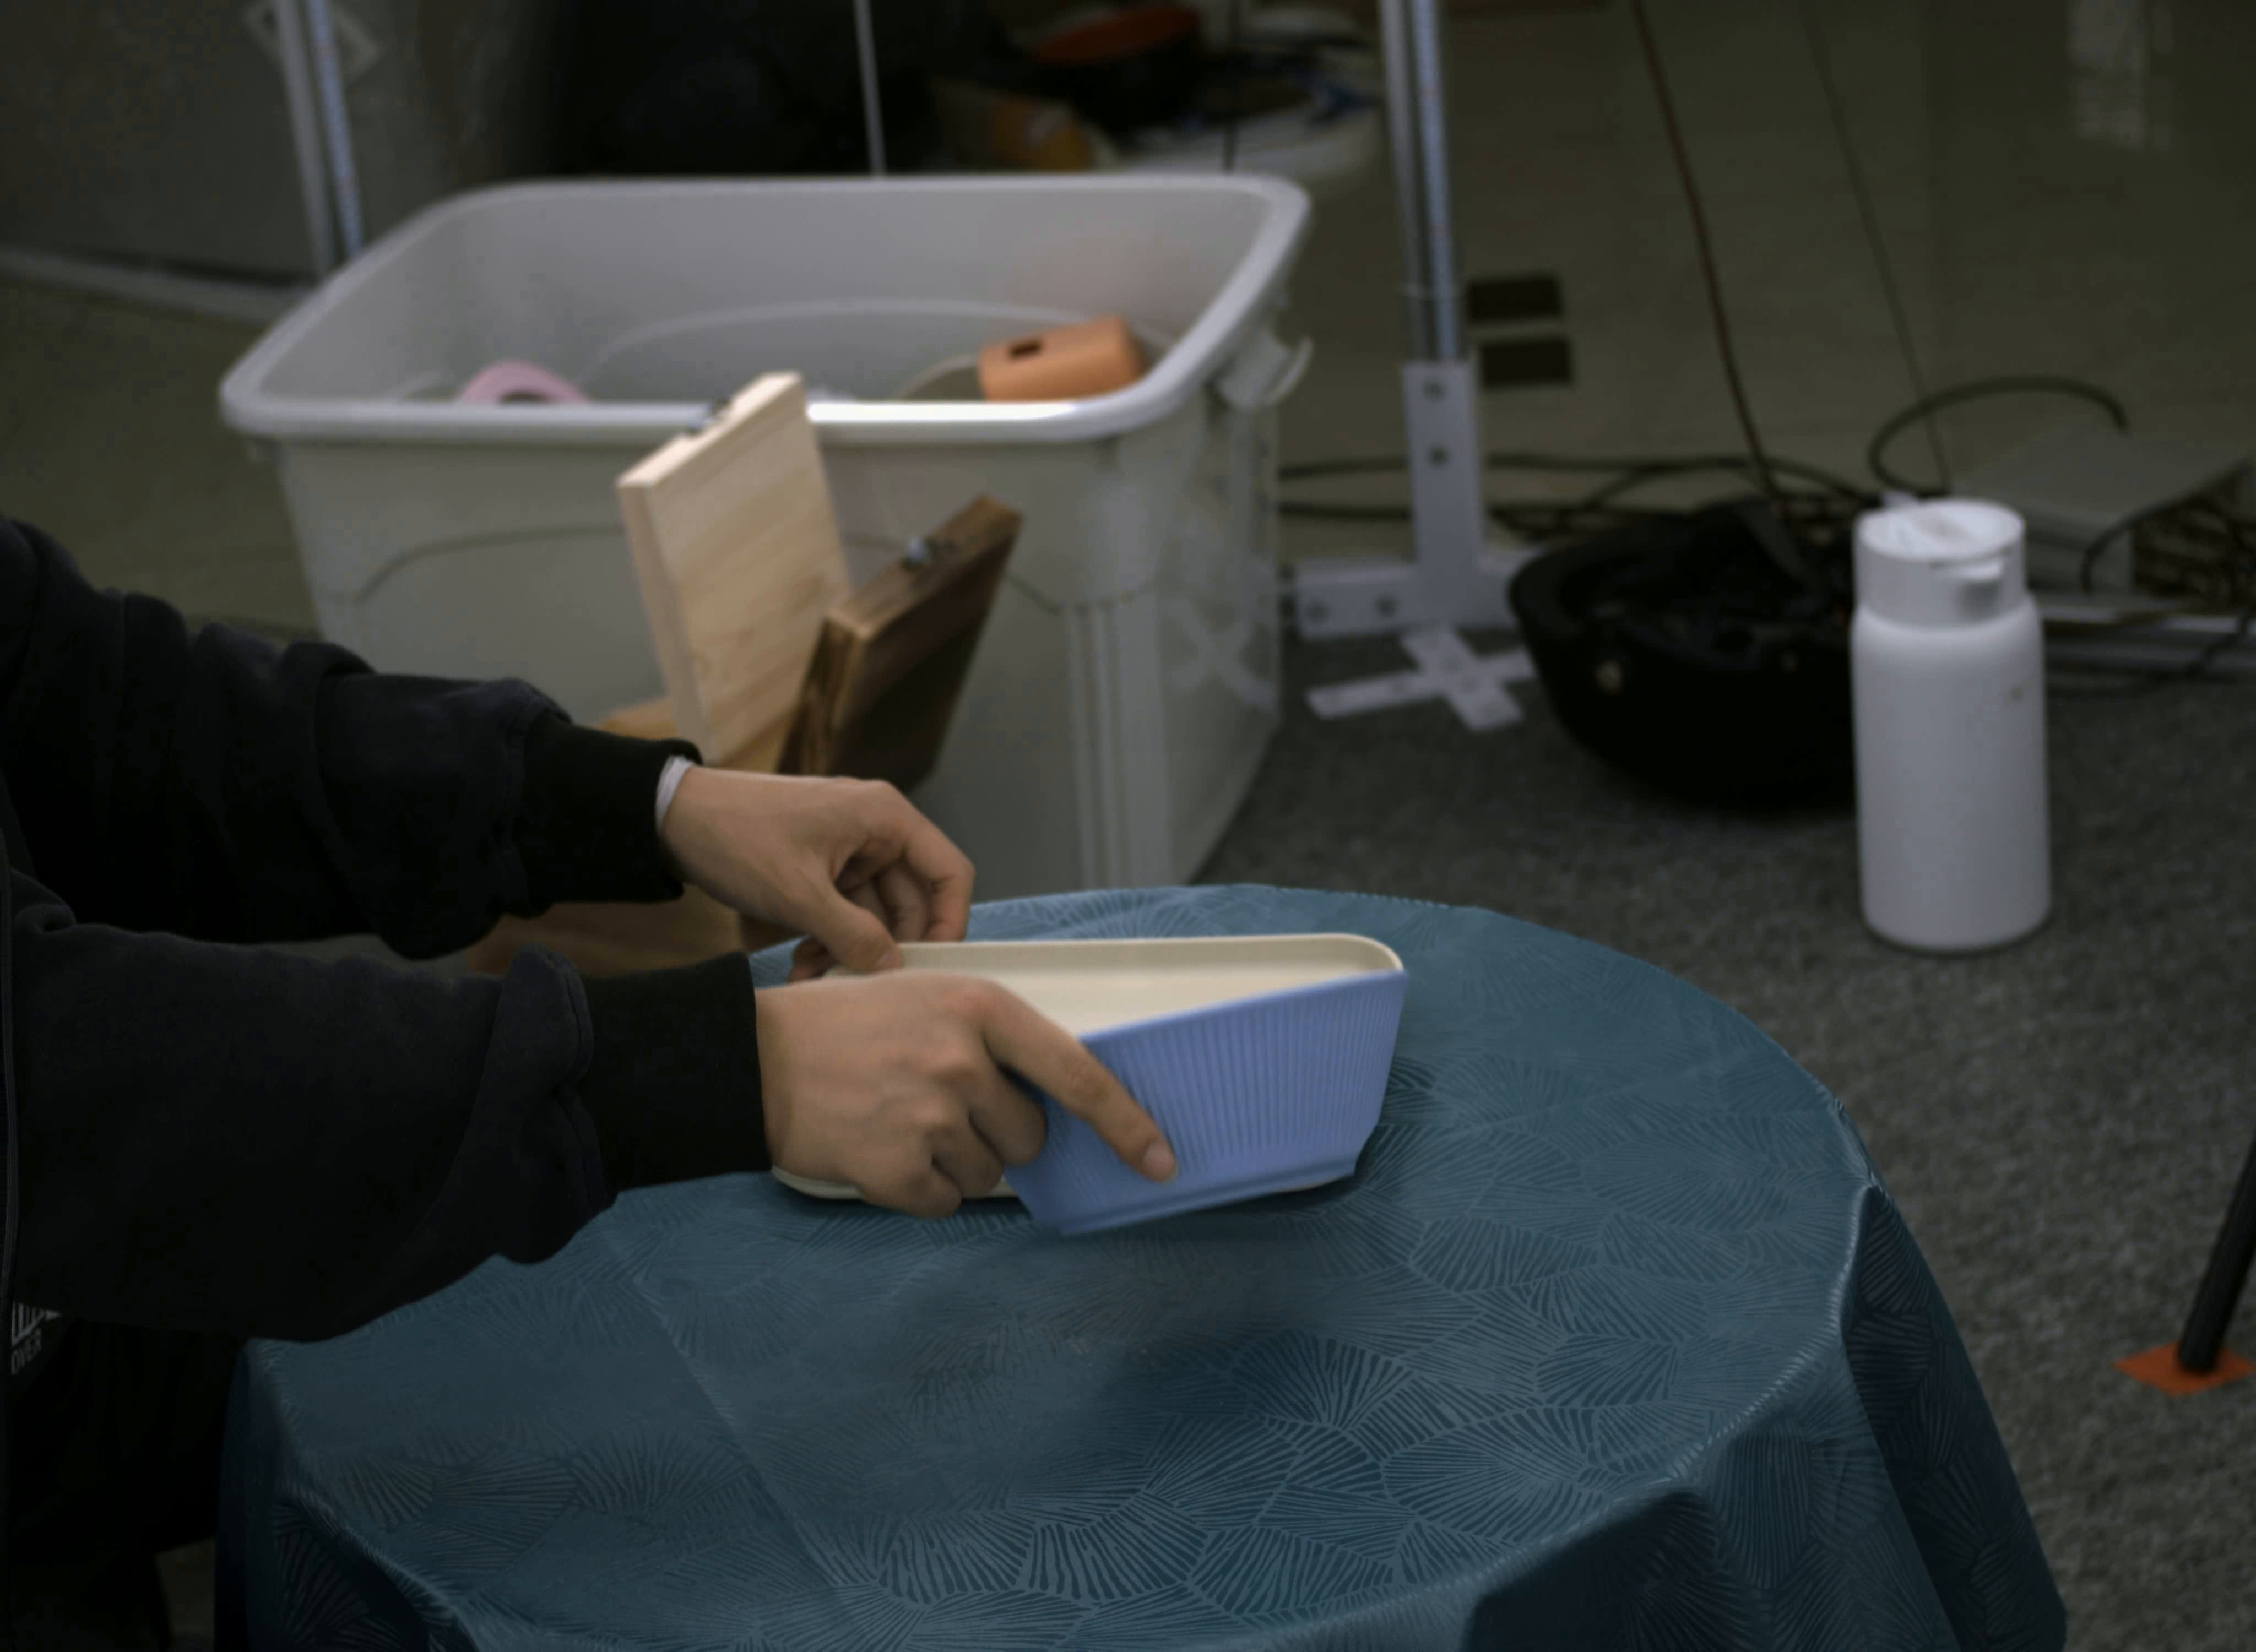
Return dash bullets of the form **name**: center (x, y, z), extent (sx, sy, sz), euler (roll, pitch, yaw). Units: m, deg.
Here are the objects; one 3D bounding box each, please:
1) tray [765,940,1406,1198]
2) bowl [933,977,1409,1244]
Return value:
- **tray**: center (-0.014, 0.096, 2.213), extent (0.239, 0.018, 0.168), euler (-1, 30, 10)
- **bowl**: center (0.022, 0.105, 2.033), extent (0.176, 0.070, 0.176), euler (-12, -3, 0)
